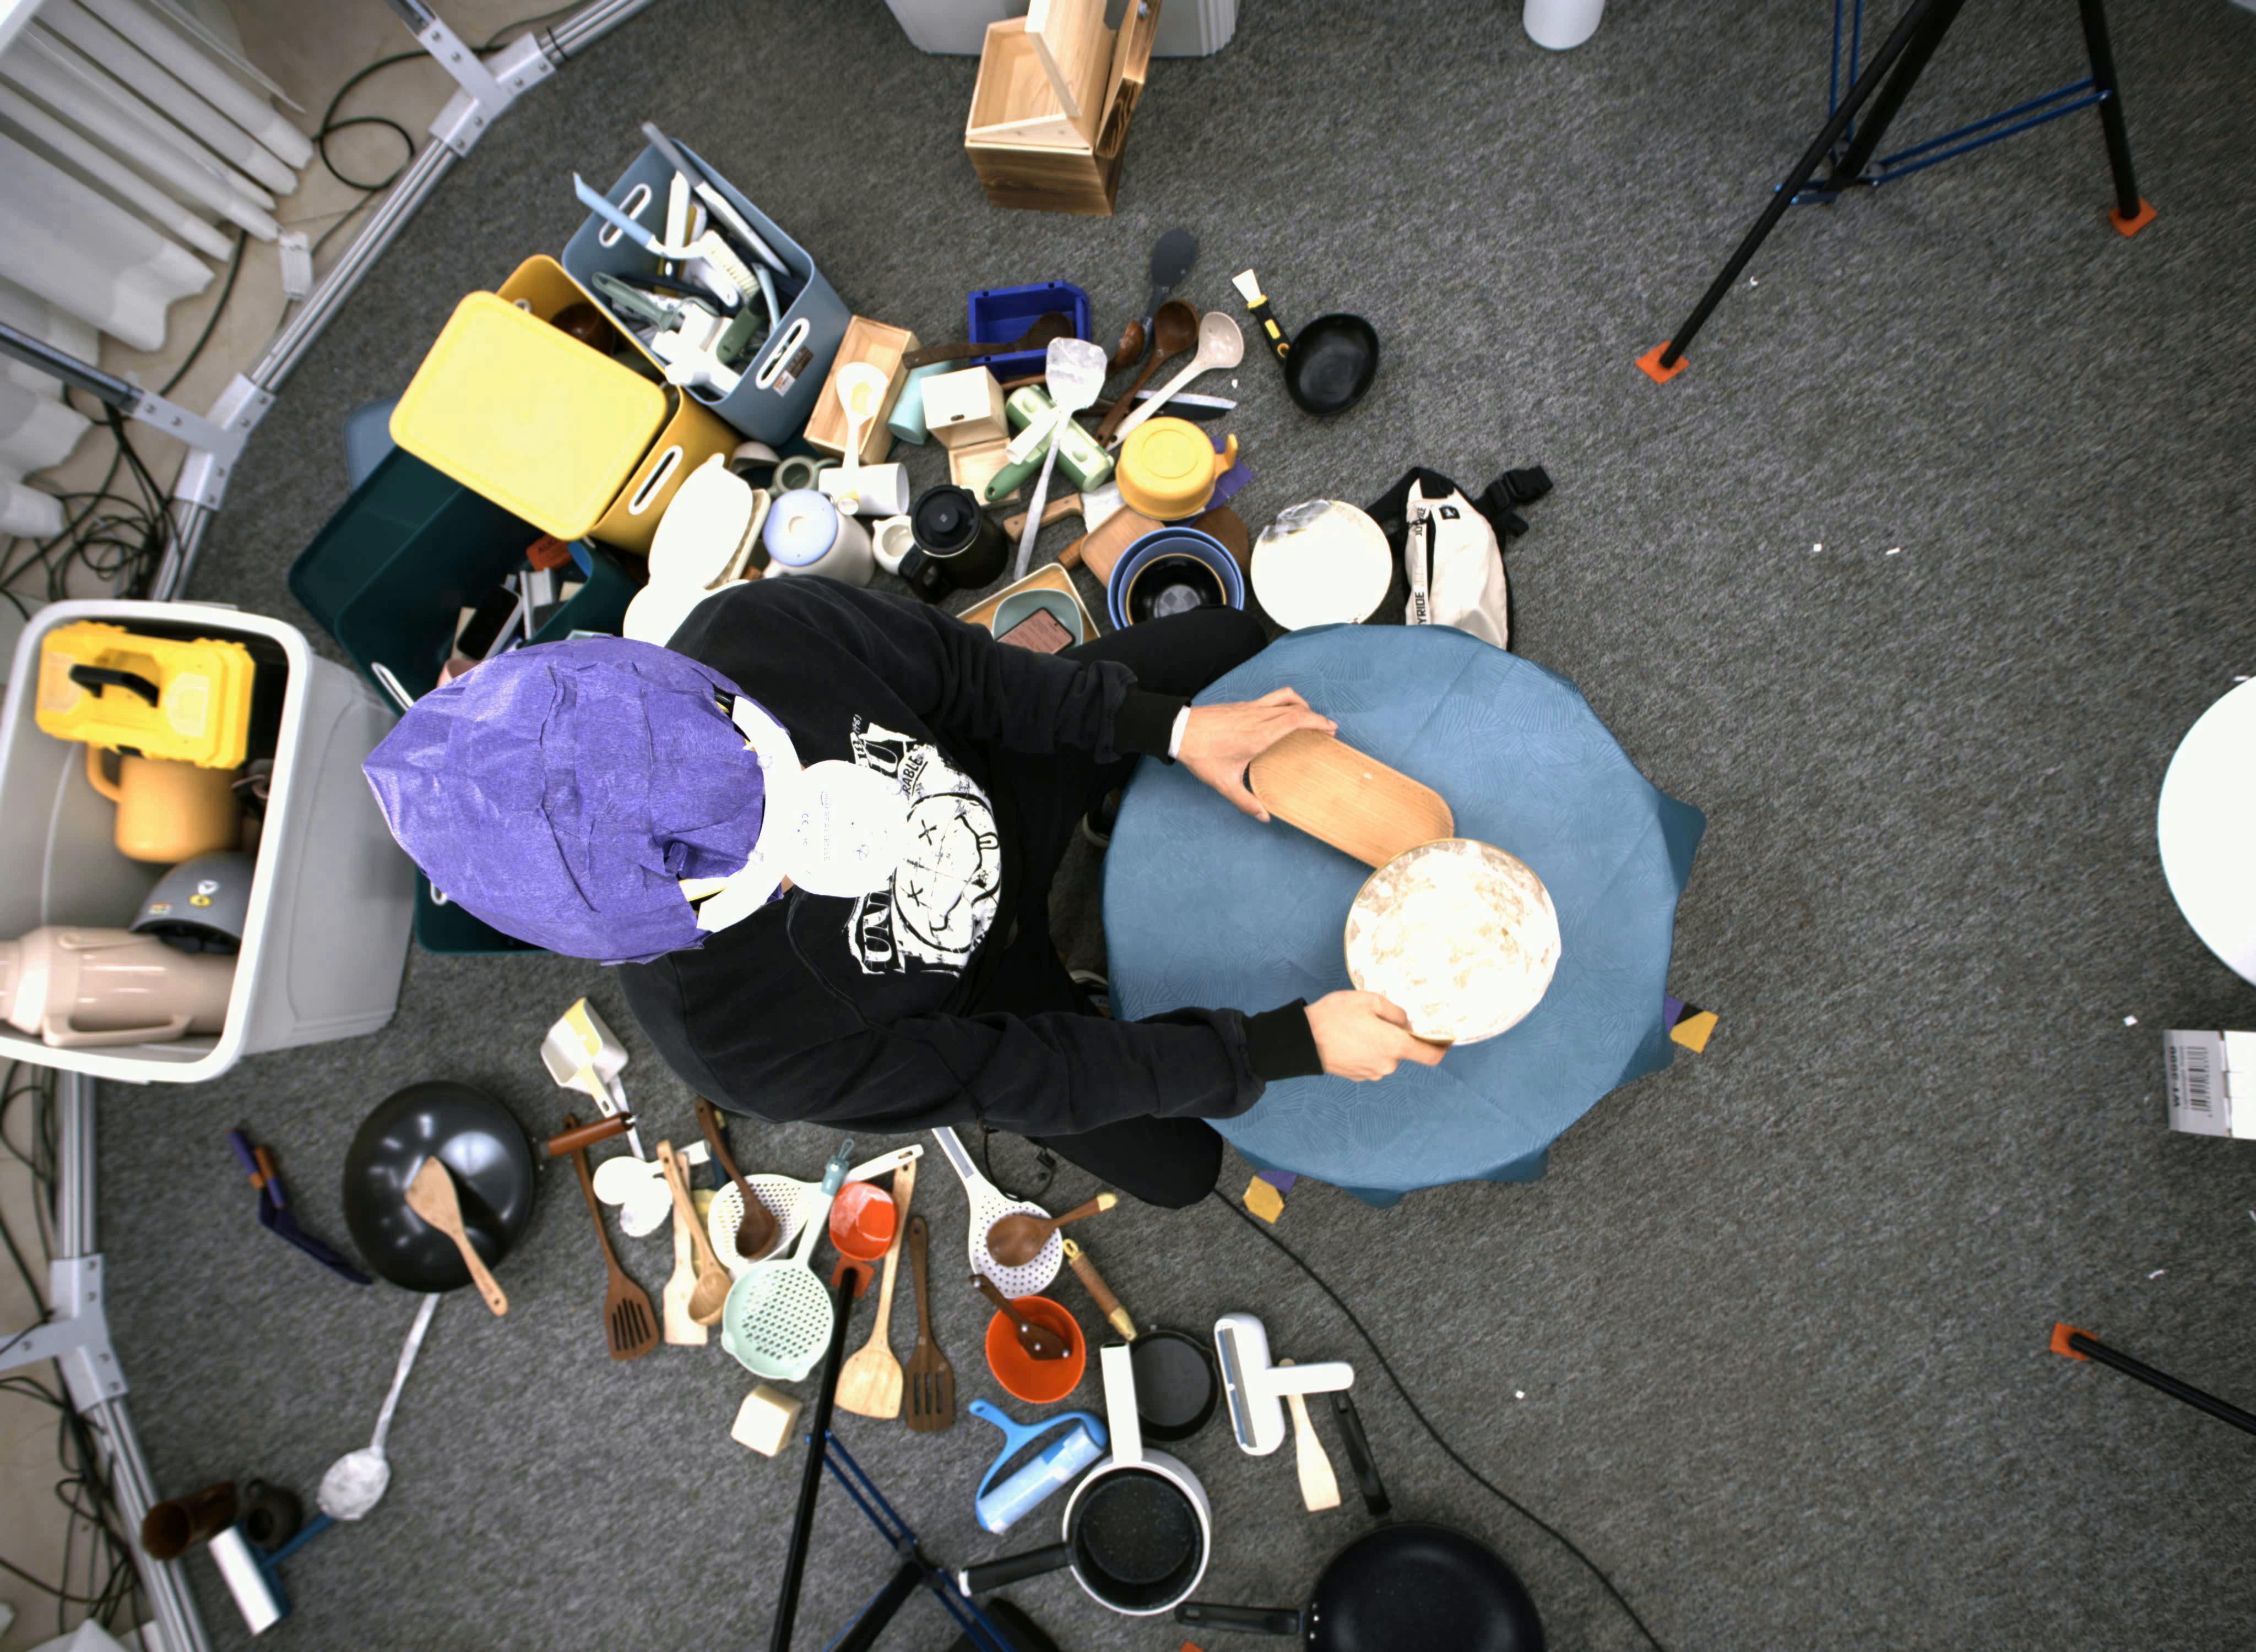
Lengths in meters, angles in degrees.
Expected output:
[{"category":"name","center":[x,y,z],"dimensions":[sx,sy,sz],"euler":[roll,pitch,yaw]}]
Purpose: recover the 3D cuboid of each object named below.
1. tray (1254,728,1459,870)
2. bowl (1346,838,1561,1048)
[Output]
[{"category":"tray","center":[0.239,-0.024,1.440],"dimensions":[0.231,0.020,0.101],"euler":[26,91,-6]},{"category":"bowl","center":[0.318,0.119,1.330],"dimensions":[0.217,0.095,0.210],"euler":[-11,65,23]}]
